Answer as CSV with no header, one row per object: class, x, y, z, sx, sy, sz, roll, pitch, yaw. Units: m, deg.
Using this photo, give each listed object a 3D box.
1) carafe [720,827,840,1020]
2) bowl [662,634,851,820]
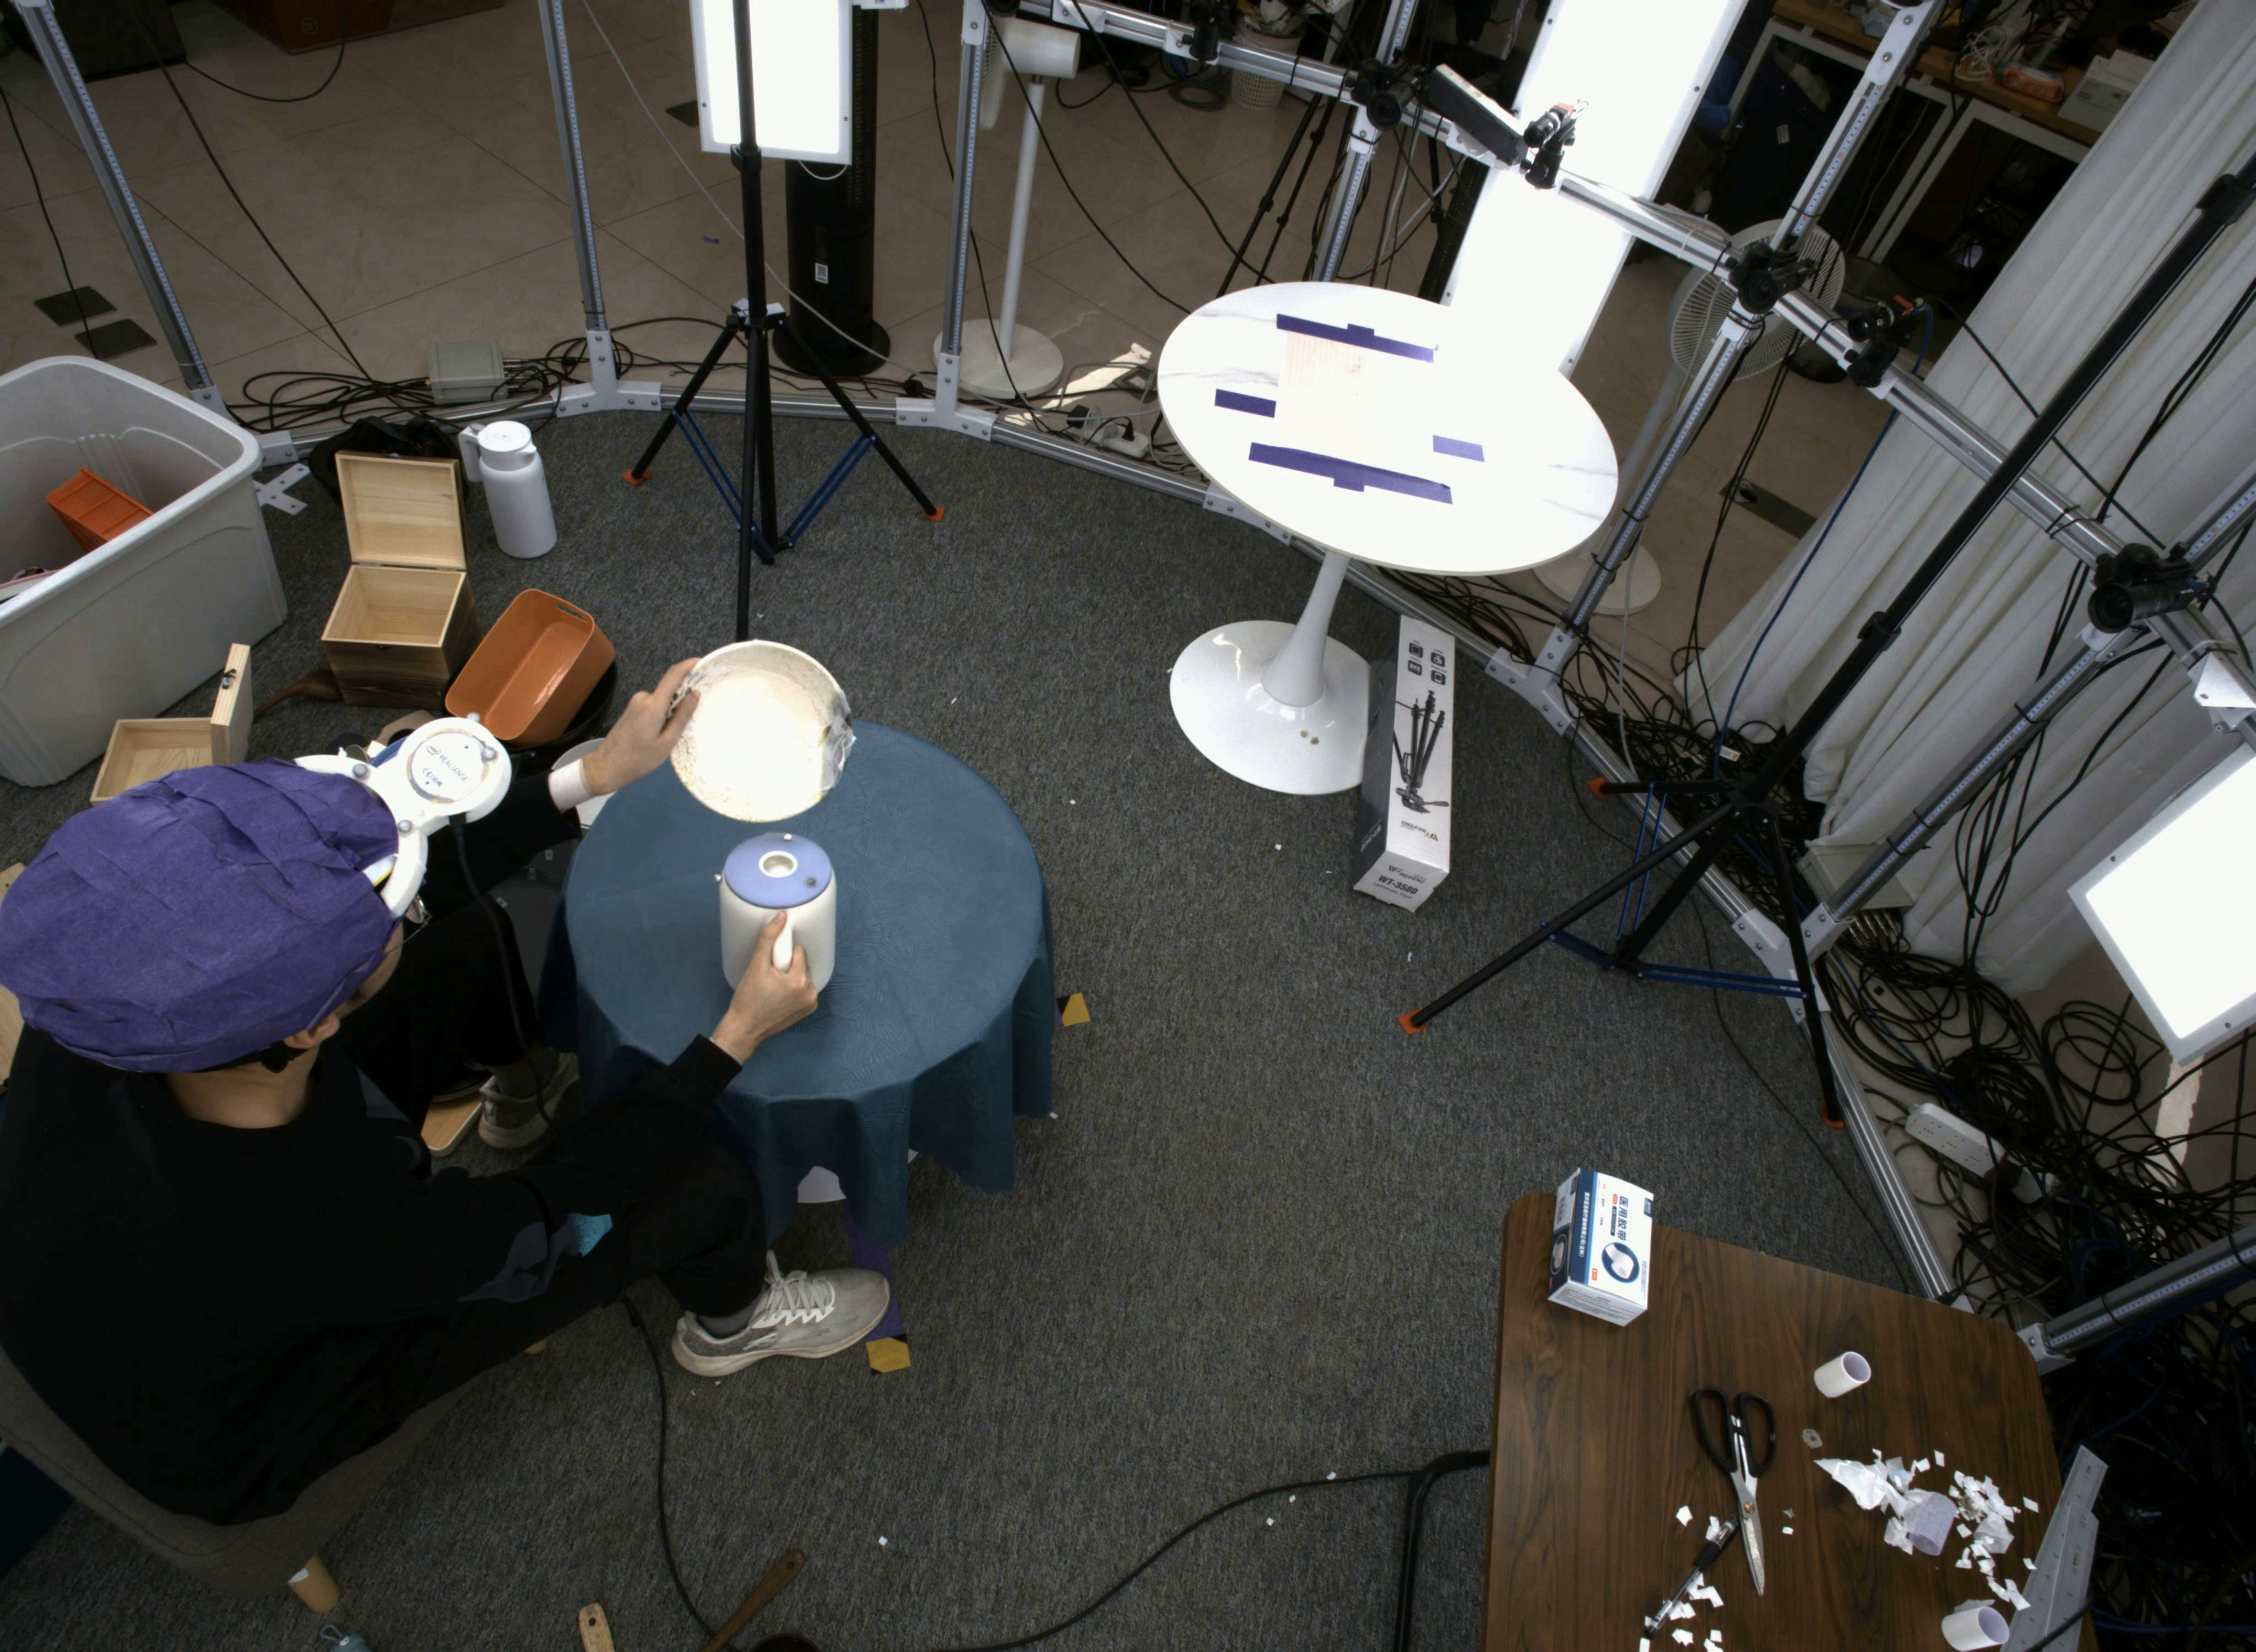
carafe,-0.397,0.123,1.495,0.133,0.187,0.186,-7,49,-18
bowl,-0.415,-0.117,1.448,0.204,0.209,0.075,-4,19,-17
